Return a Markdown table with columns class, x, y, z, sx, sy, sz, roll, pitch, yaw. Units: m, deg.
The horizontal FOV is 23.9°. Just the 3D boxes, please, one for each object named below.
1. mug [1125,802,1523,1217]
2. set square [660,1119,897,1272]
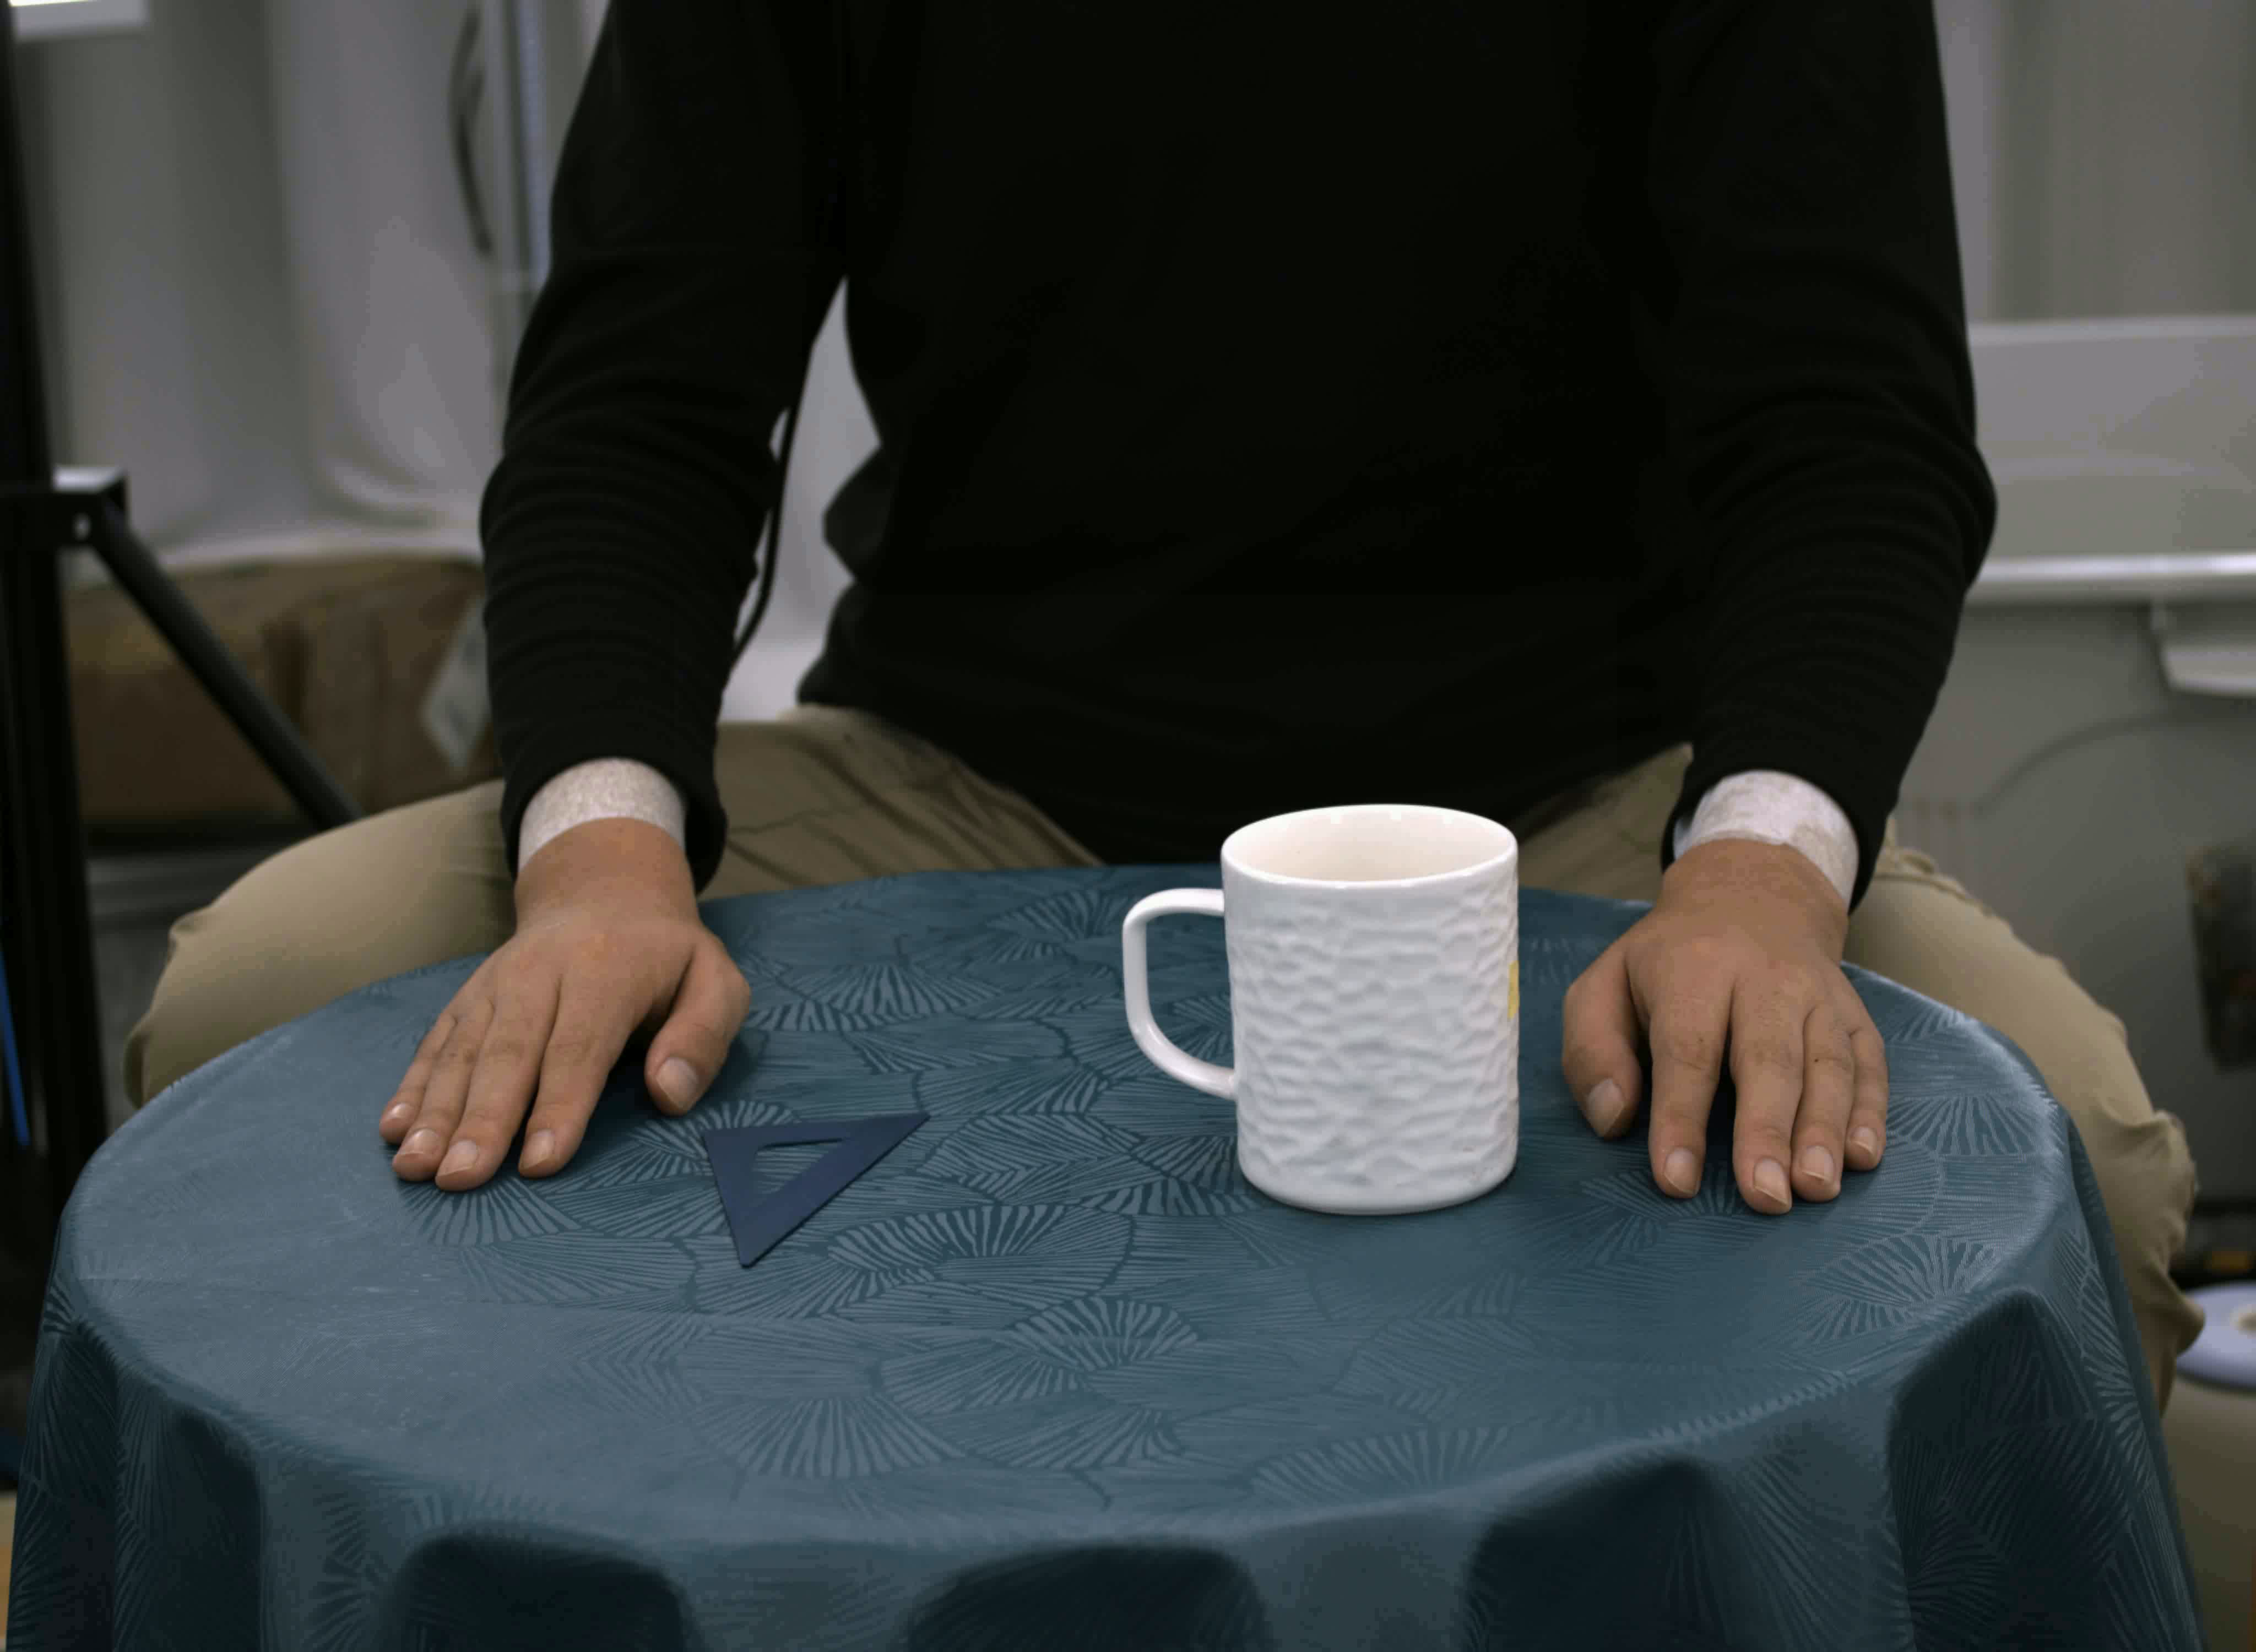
| class | x | y | z | sx | sy | sz | roll | pitch | yaw |
| --- | --- | --- | --- | --- | --- | --- | --- | --- | --- |
| mug | 0.057 | 0.053 | 1.554 | 0.119 | 0.102 | 0.084 | 2 | 16 | 16 |
| set square | -0.121 | 0.106 | 1.577 | 0.062 | 0.006 | 0.130 | 7 | 18 | 24 |
